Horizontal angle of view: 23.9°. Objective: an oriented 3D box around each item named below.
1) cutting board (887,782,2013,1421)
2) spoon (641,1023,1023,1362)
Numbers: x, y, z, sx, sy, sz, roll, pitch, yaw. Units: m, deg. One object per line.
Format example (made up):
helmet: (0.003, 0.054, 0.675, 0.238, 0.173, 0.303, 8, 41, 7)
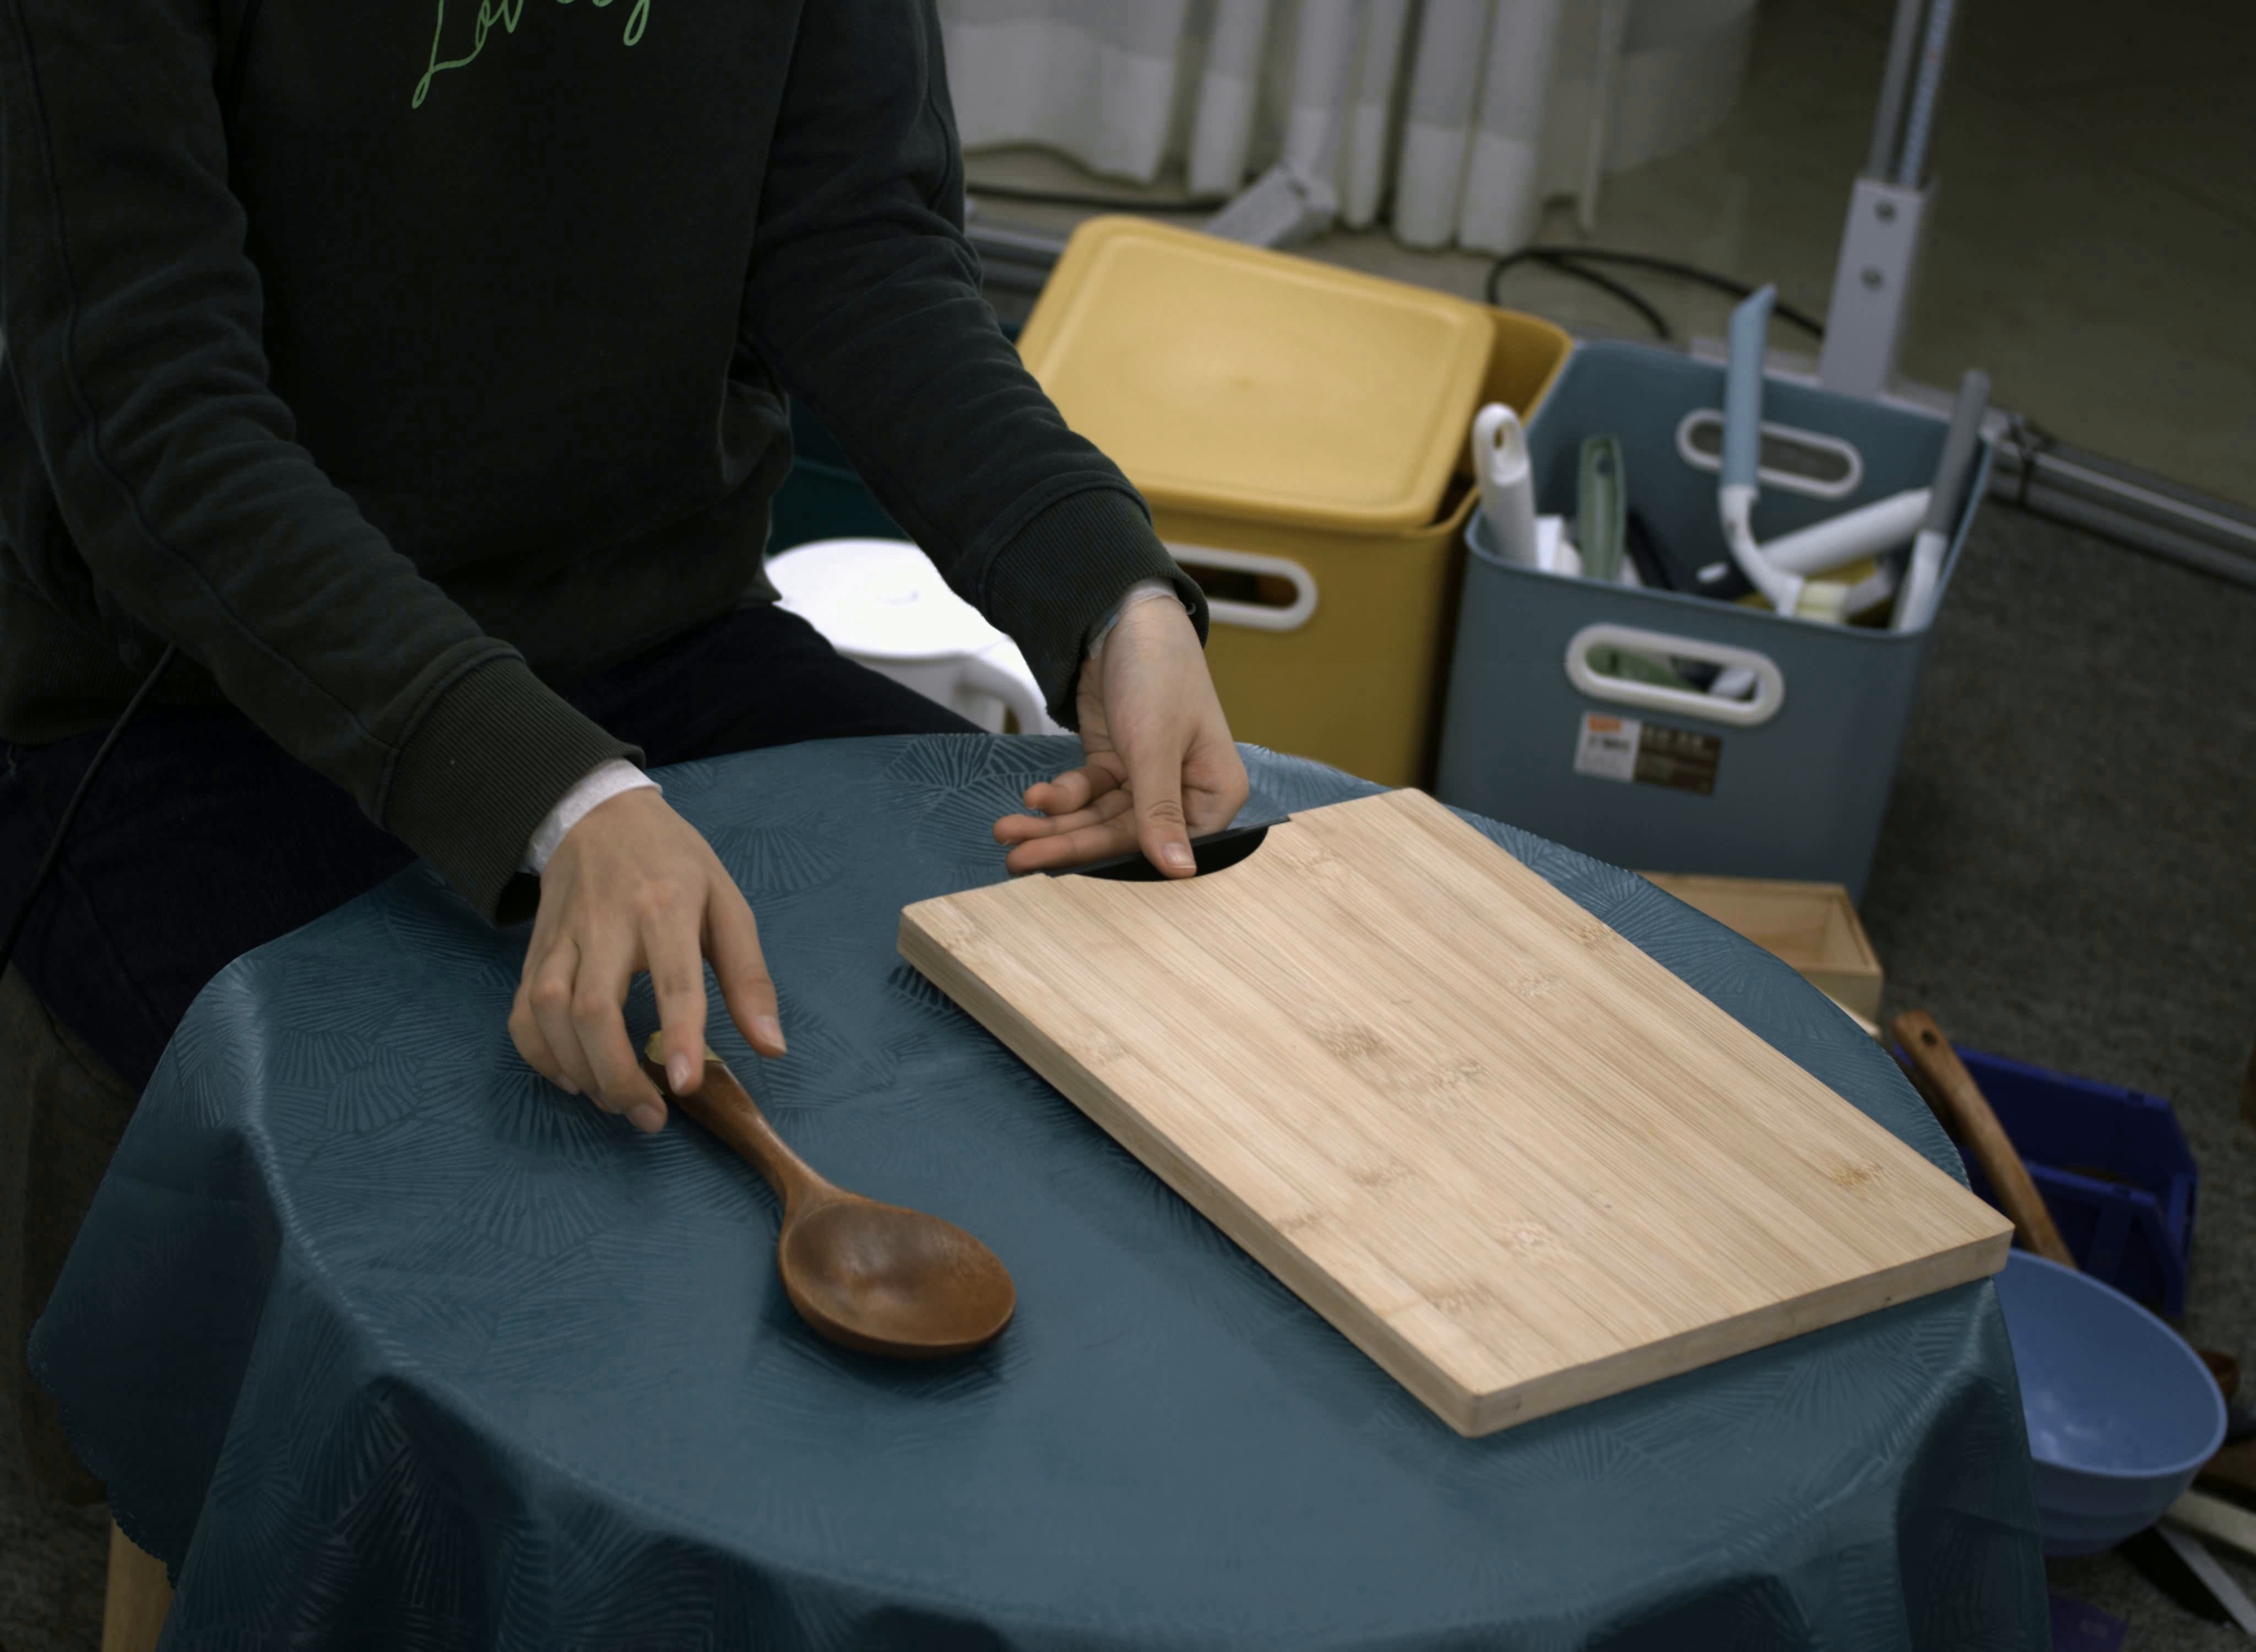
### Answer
cutting board: (0.106, 0.088, 1.869, 0.249, 0.023, 0.352, -12, 33, -34)
spoon: (-0.106, 0.121, 1.761, 0.075, 0.017, 0.218, -11, 32, -29)
